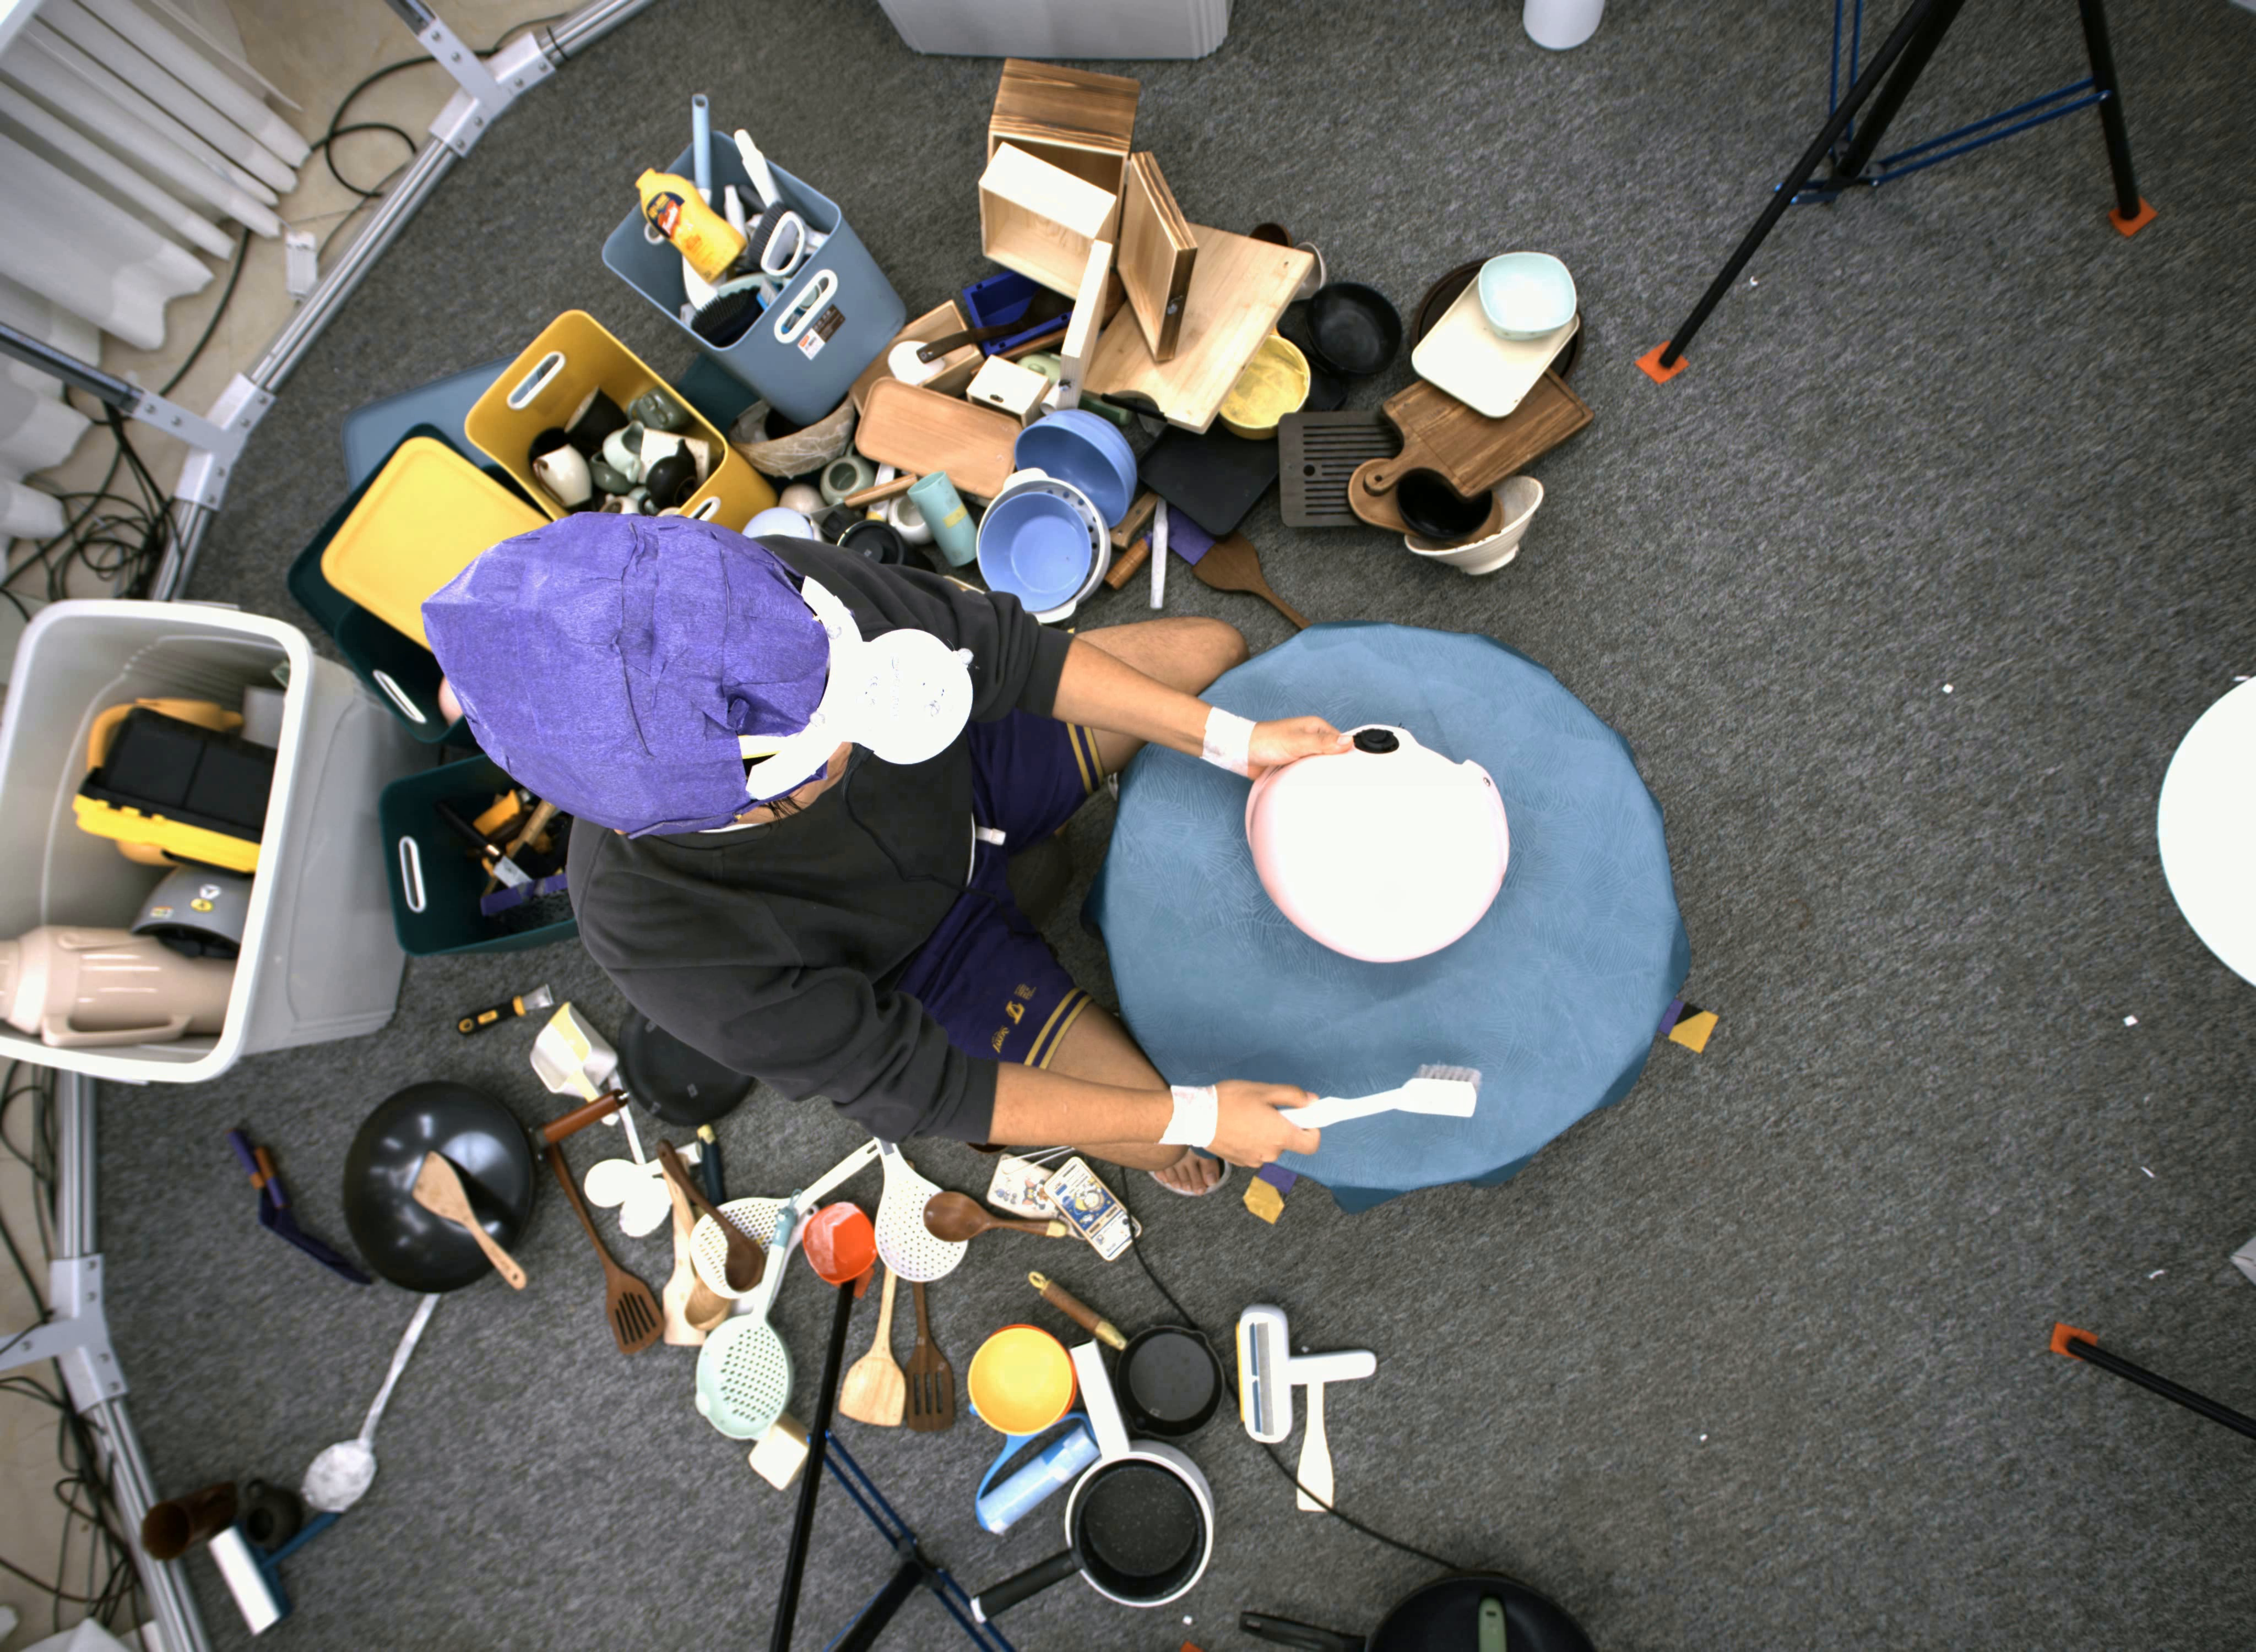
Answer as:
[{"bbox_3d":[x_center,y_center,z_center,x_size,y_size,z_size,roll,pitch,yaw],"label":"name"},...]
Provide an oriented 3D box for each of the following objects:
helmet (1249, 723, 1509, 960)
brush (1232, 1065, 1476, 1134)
[{"bbox_3d":[0.235,0.030,1.349,0.266,0.155,0.239,16,120,10],"label":"helmet"},{"bbox_3d":[0.224,0.270,1.374,0.244,0.049,0.035,-8,111,6],"label":"brush"}]
